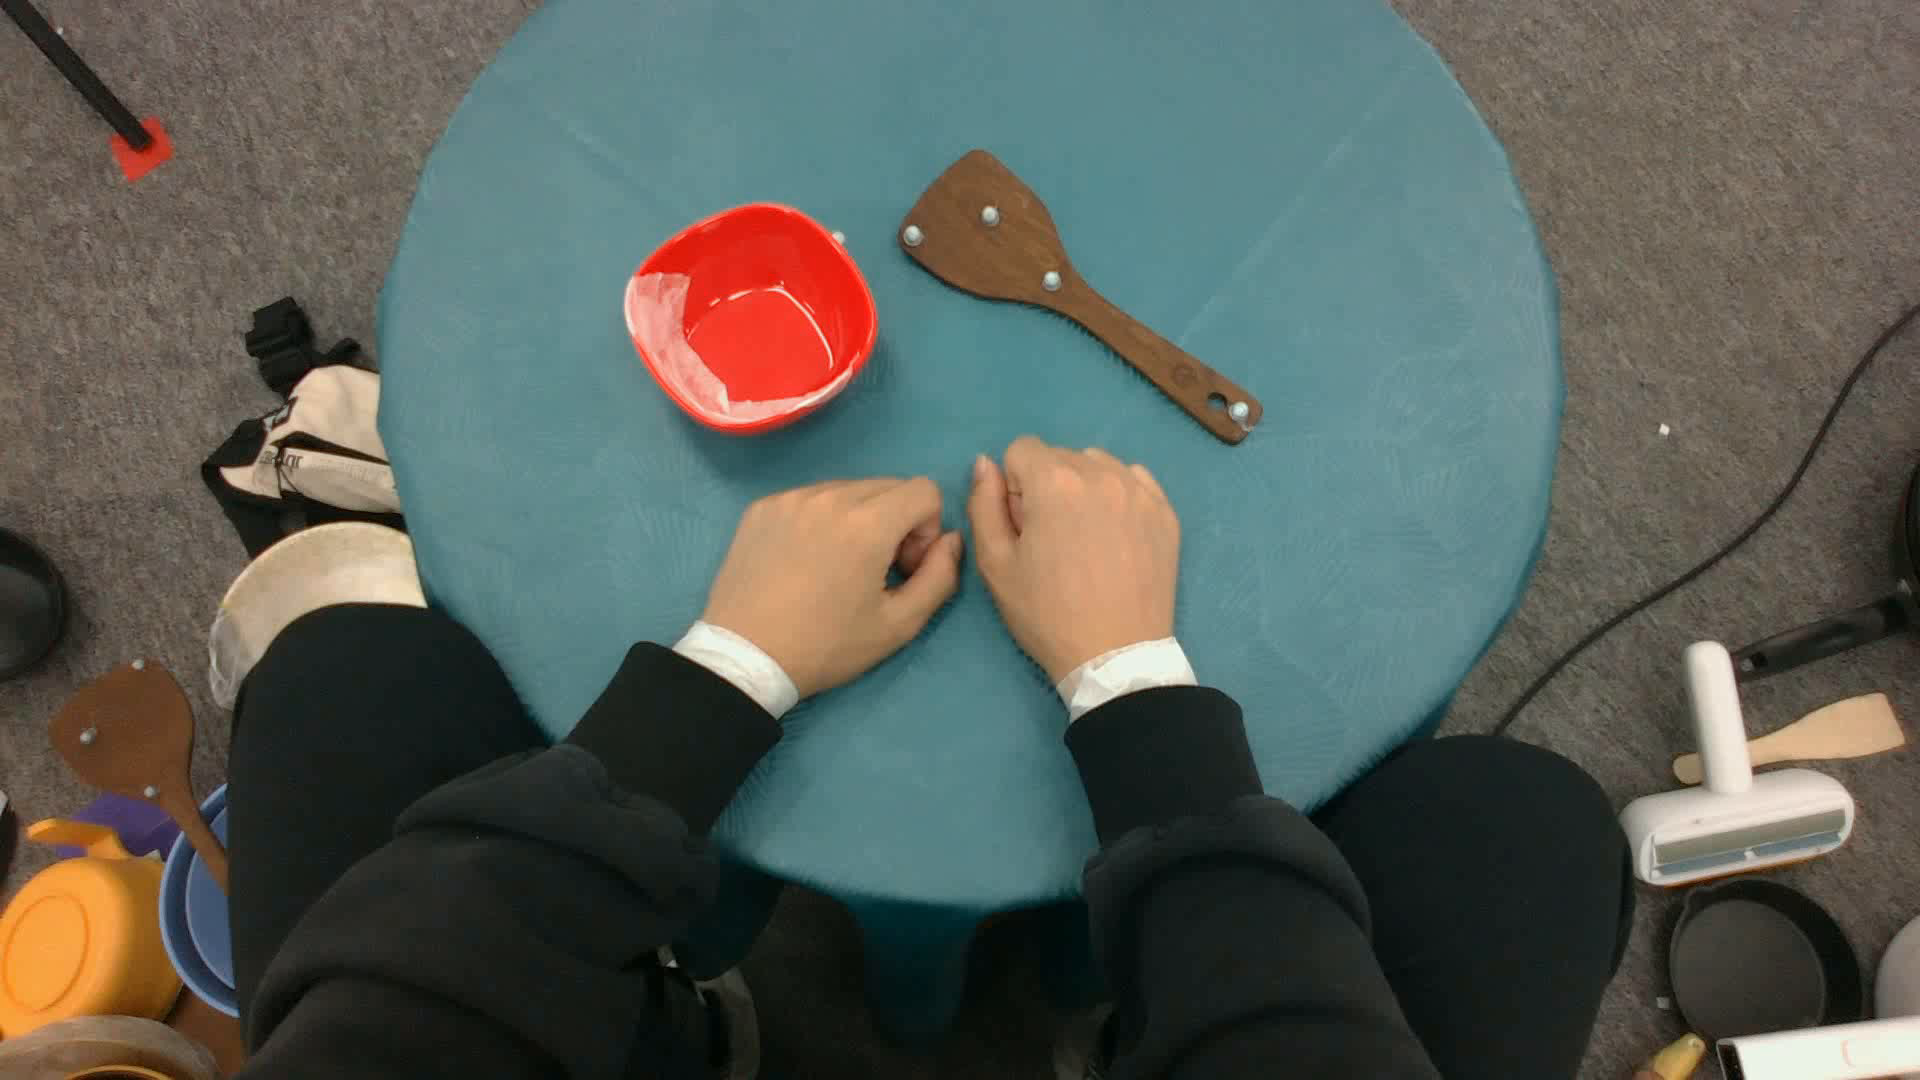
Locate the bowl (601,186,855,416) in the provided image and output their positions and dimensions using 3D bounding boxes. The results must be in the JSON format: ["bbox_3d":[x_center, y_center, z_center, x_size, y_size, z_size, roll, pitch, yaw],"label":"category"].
[{"bbox_3d":[-0.110,-0.107,0.667,0.119,0.051,0.119,1,69,-3],"label":"bowl"}]

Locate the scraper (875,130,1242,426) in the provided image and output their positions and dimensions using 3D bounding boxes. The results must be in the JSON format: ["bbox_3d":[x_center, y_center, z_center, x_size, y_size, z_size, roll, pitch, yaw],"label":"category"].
[{"bbox_3d":[0.054,-0.128,0.703,0.211,0.011,0.076,38,76,9],"label":"scraper"}]
